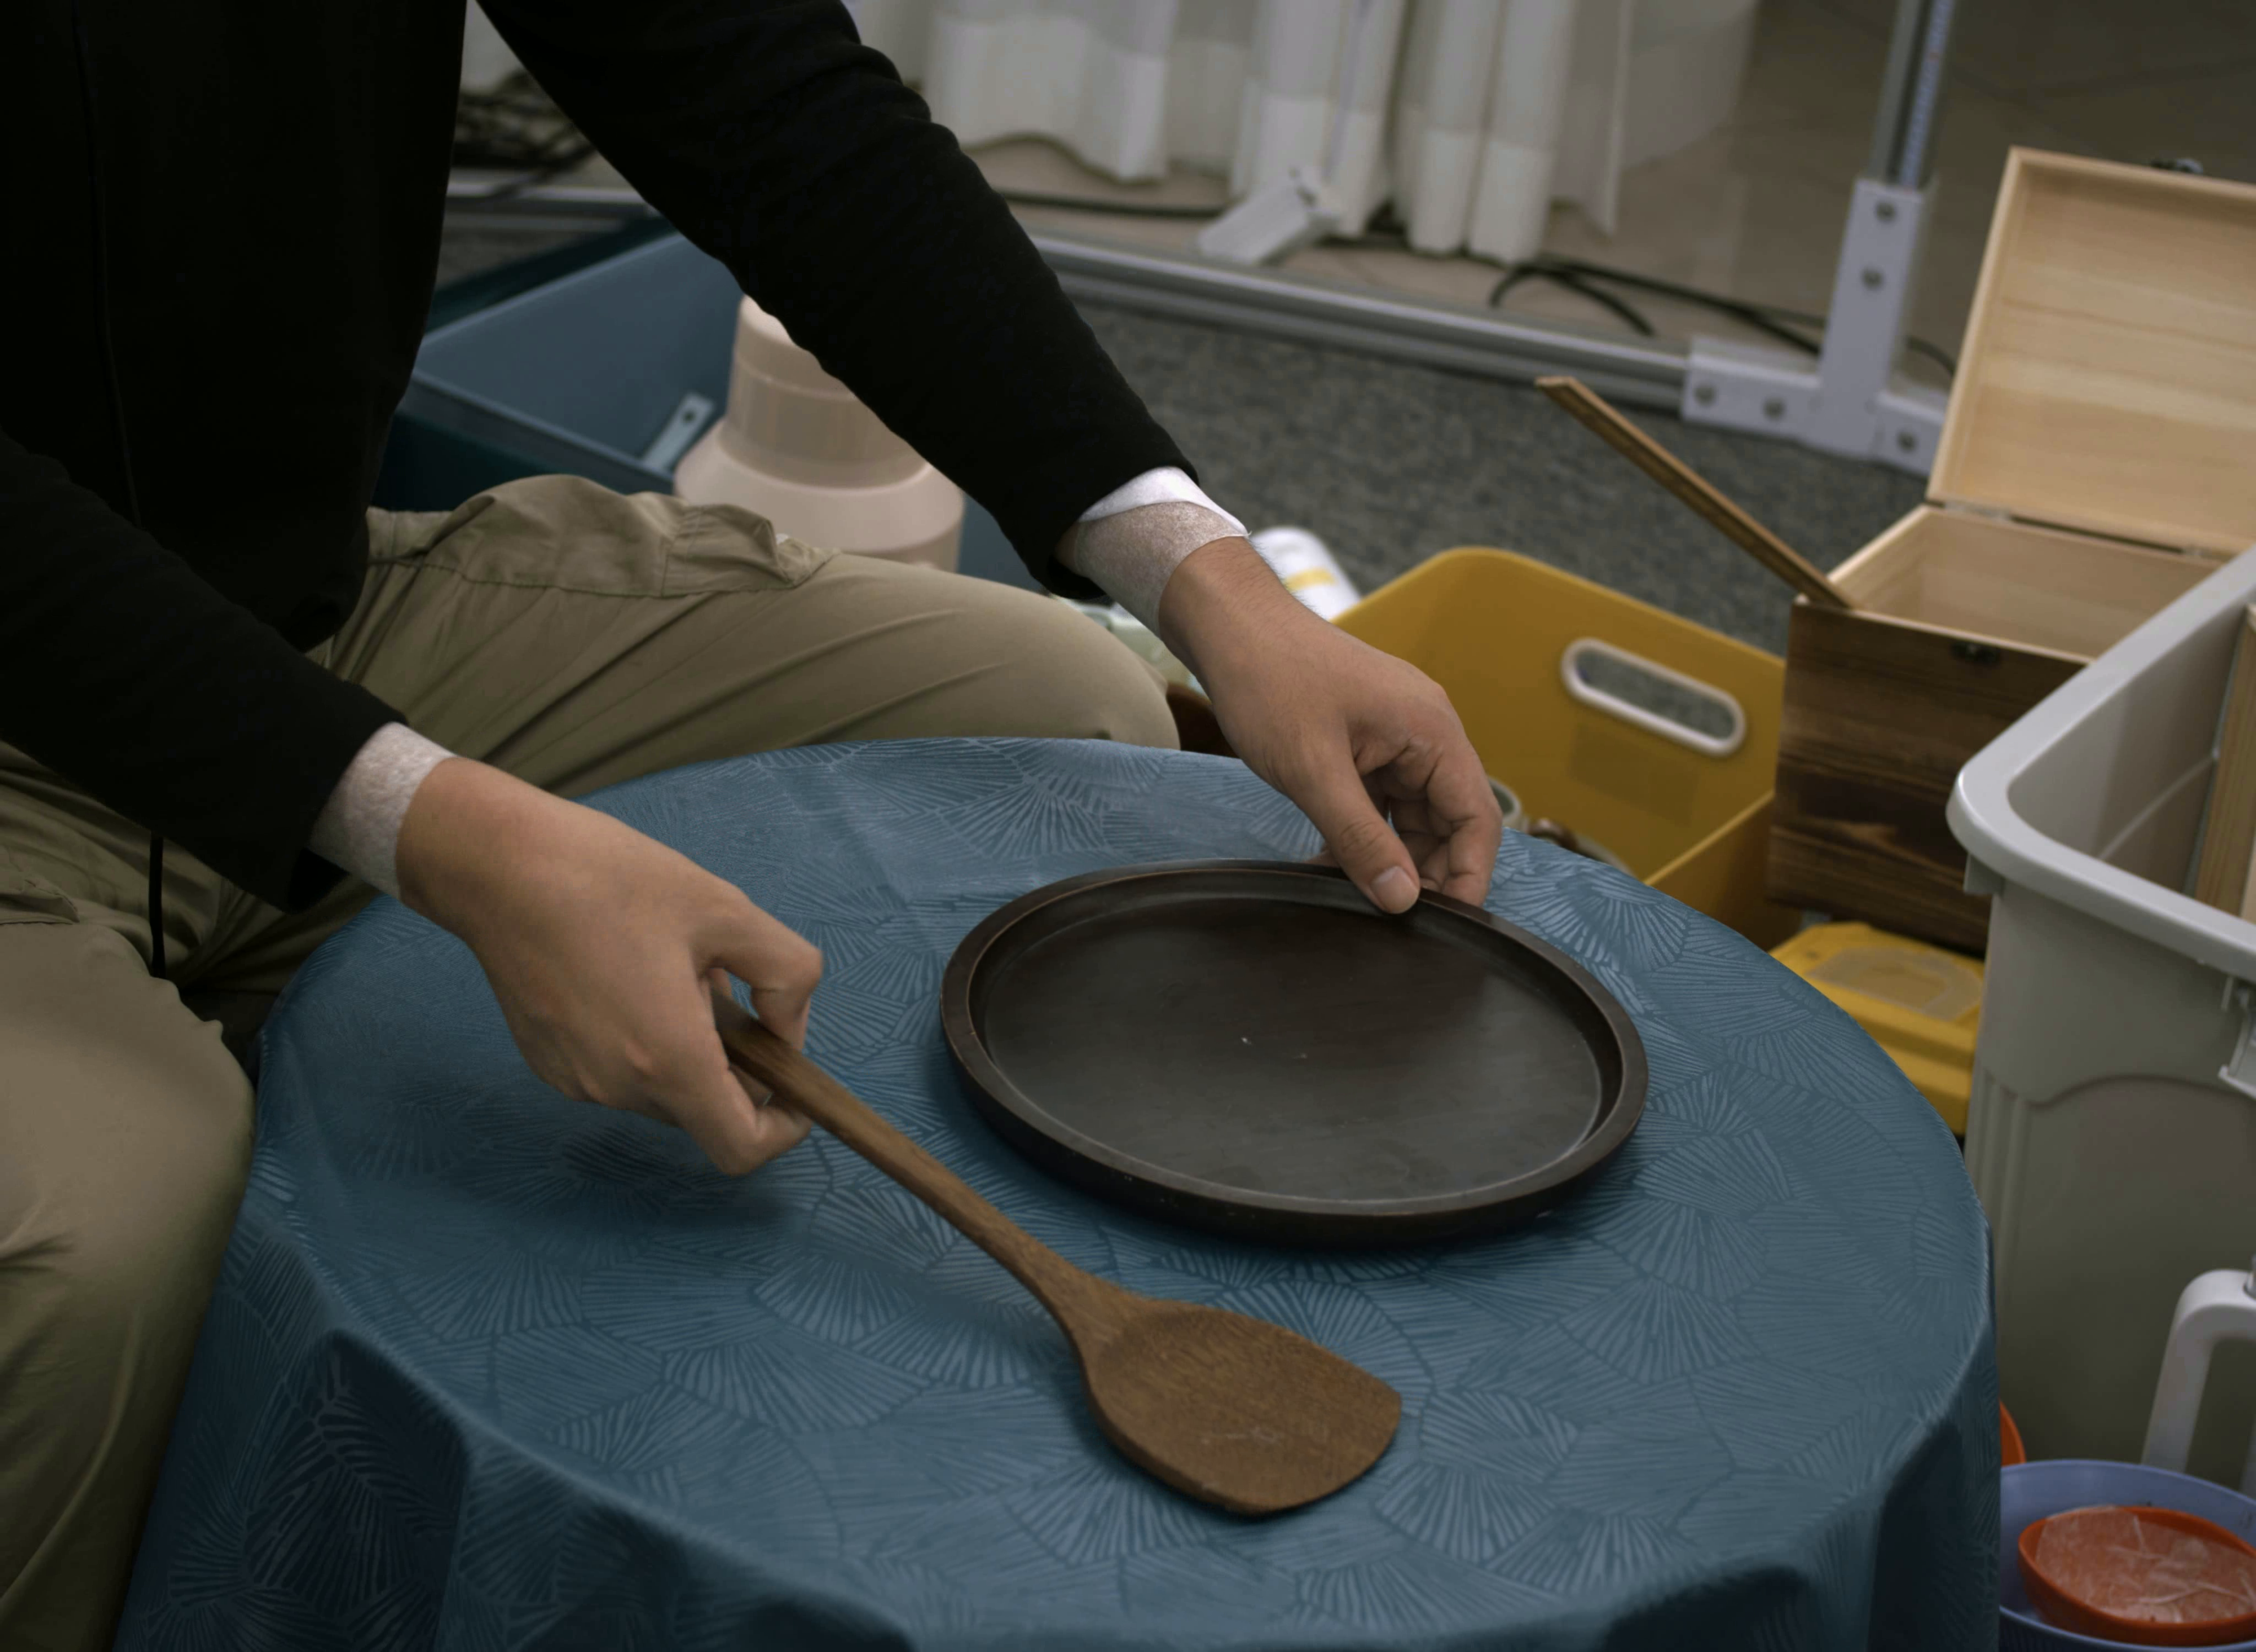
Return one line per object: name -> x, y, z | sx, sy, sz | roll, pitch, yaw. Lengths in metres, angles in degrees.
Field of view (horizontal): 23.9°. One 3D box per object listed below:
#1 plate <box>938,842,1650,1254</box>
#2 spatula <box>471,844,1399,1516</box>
plate -> 0.058, 0.079, 1.875 | 0.254, 0.029, 0.256 | 4, 28, -2
spatula -> -0.076, 0.106, 1.737 | 0.388, 0.016, 0.096 | 35, 36, 24
